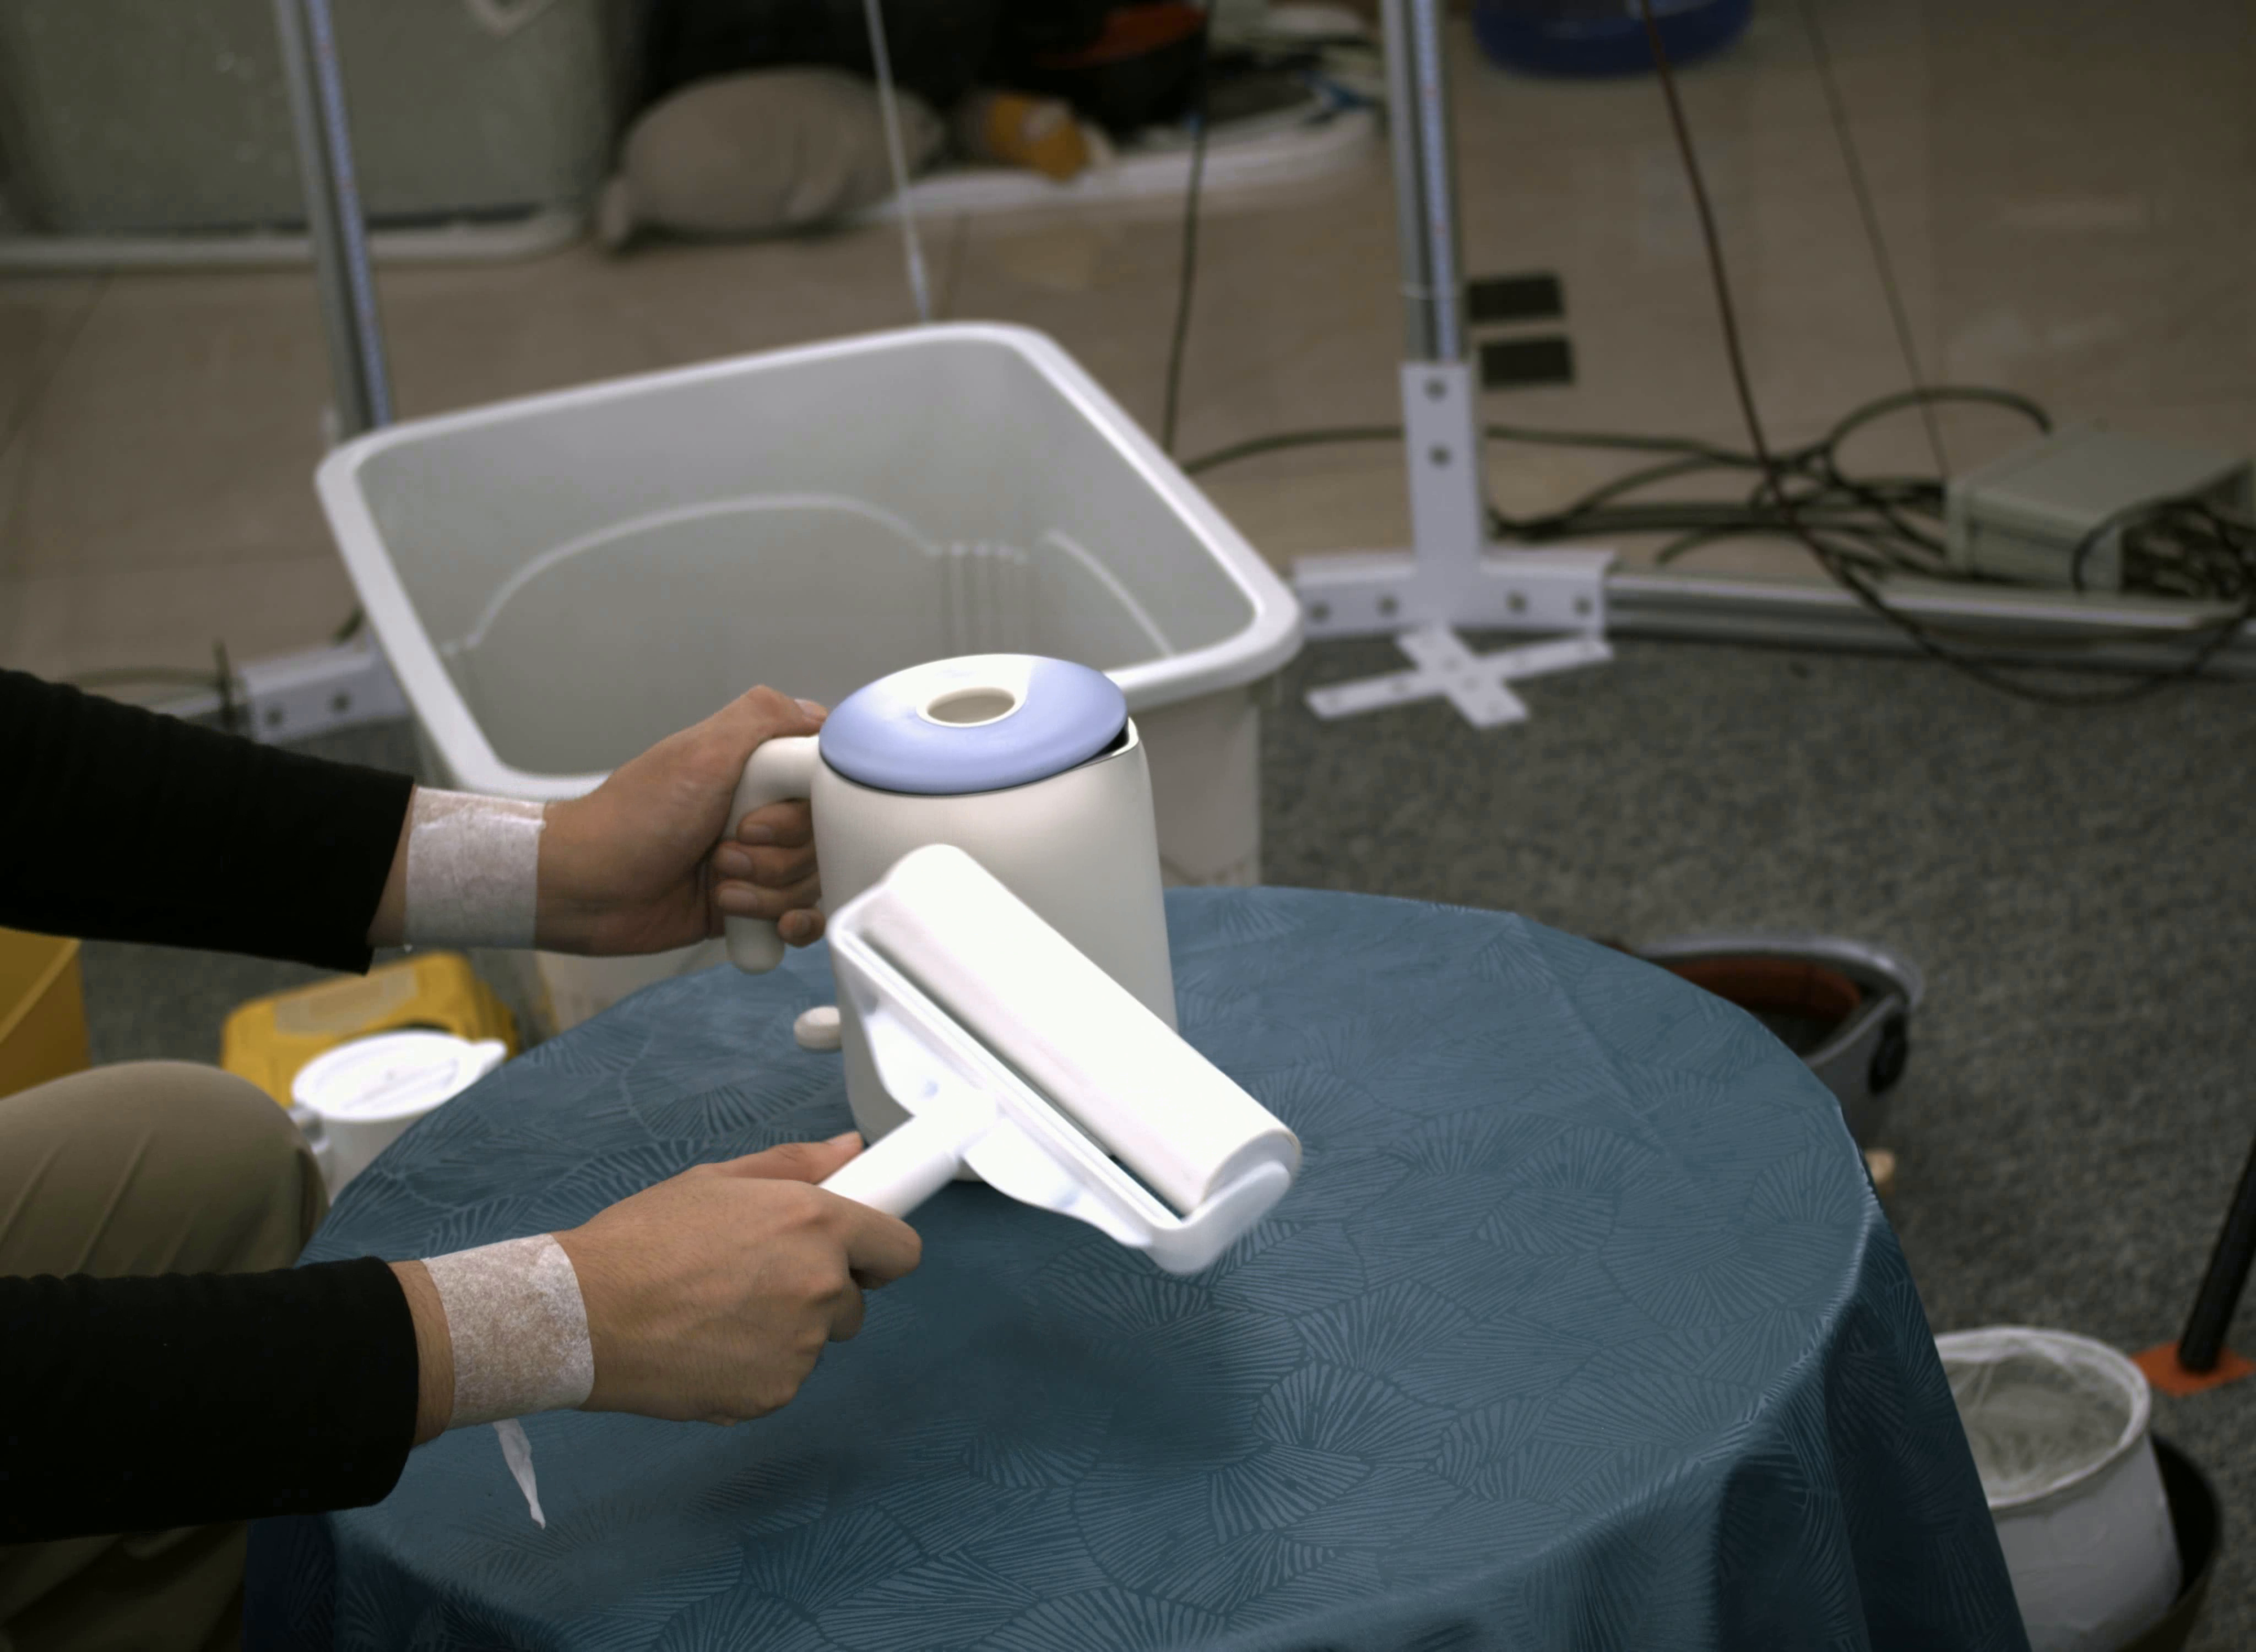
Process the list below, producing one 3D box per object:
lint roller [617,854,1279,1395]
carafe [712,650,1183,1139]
[{"bbox_3d":[-0.091,0.123,1.989,0.224,0.049,0.200,-36,54,-24],"label":"lint roller"},{"bbox_3d":[-0.073,0.033,2.188,0.190,0.185,0.130,4,27,24],"label":"carafe"}]
